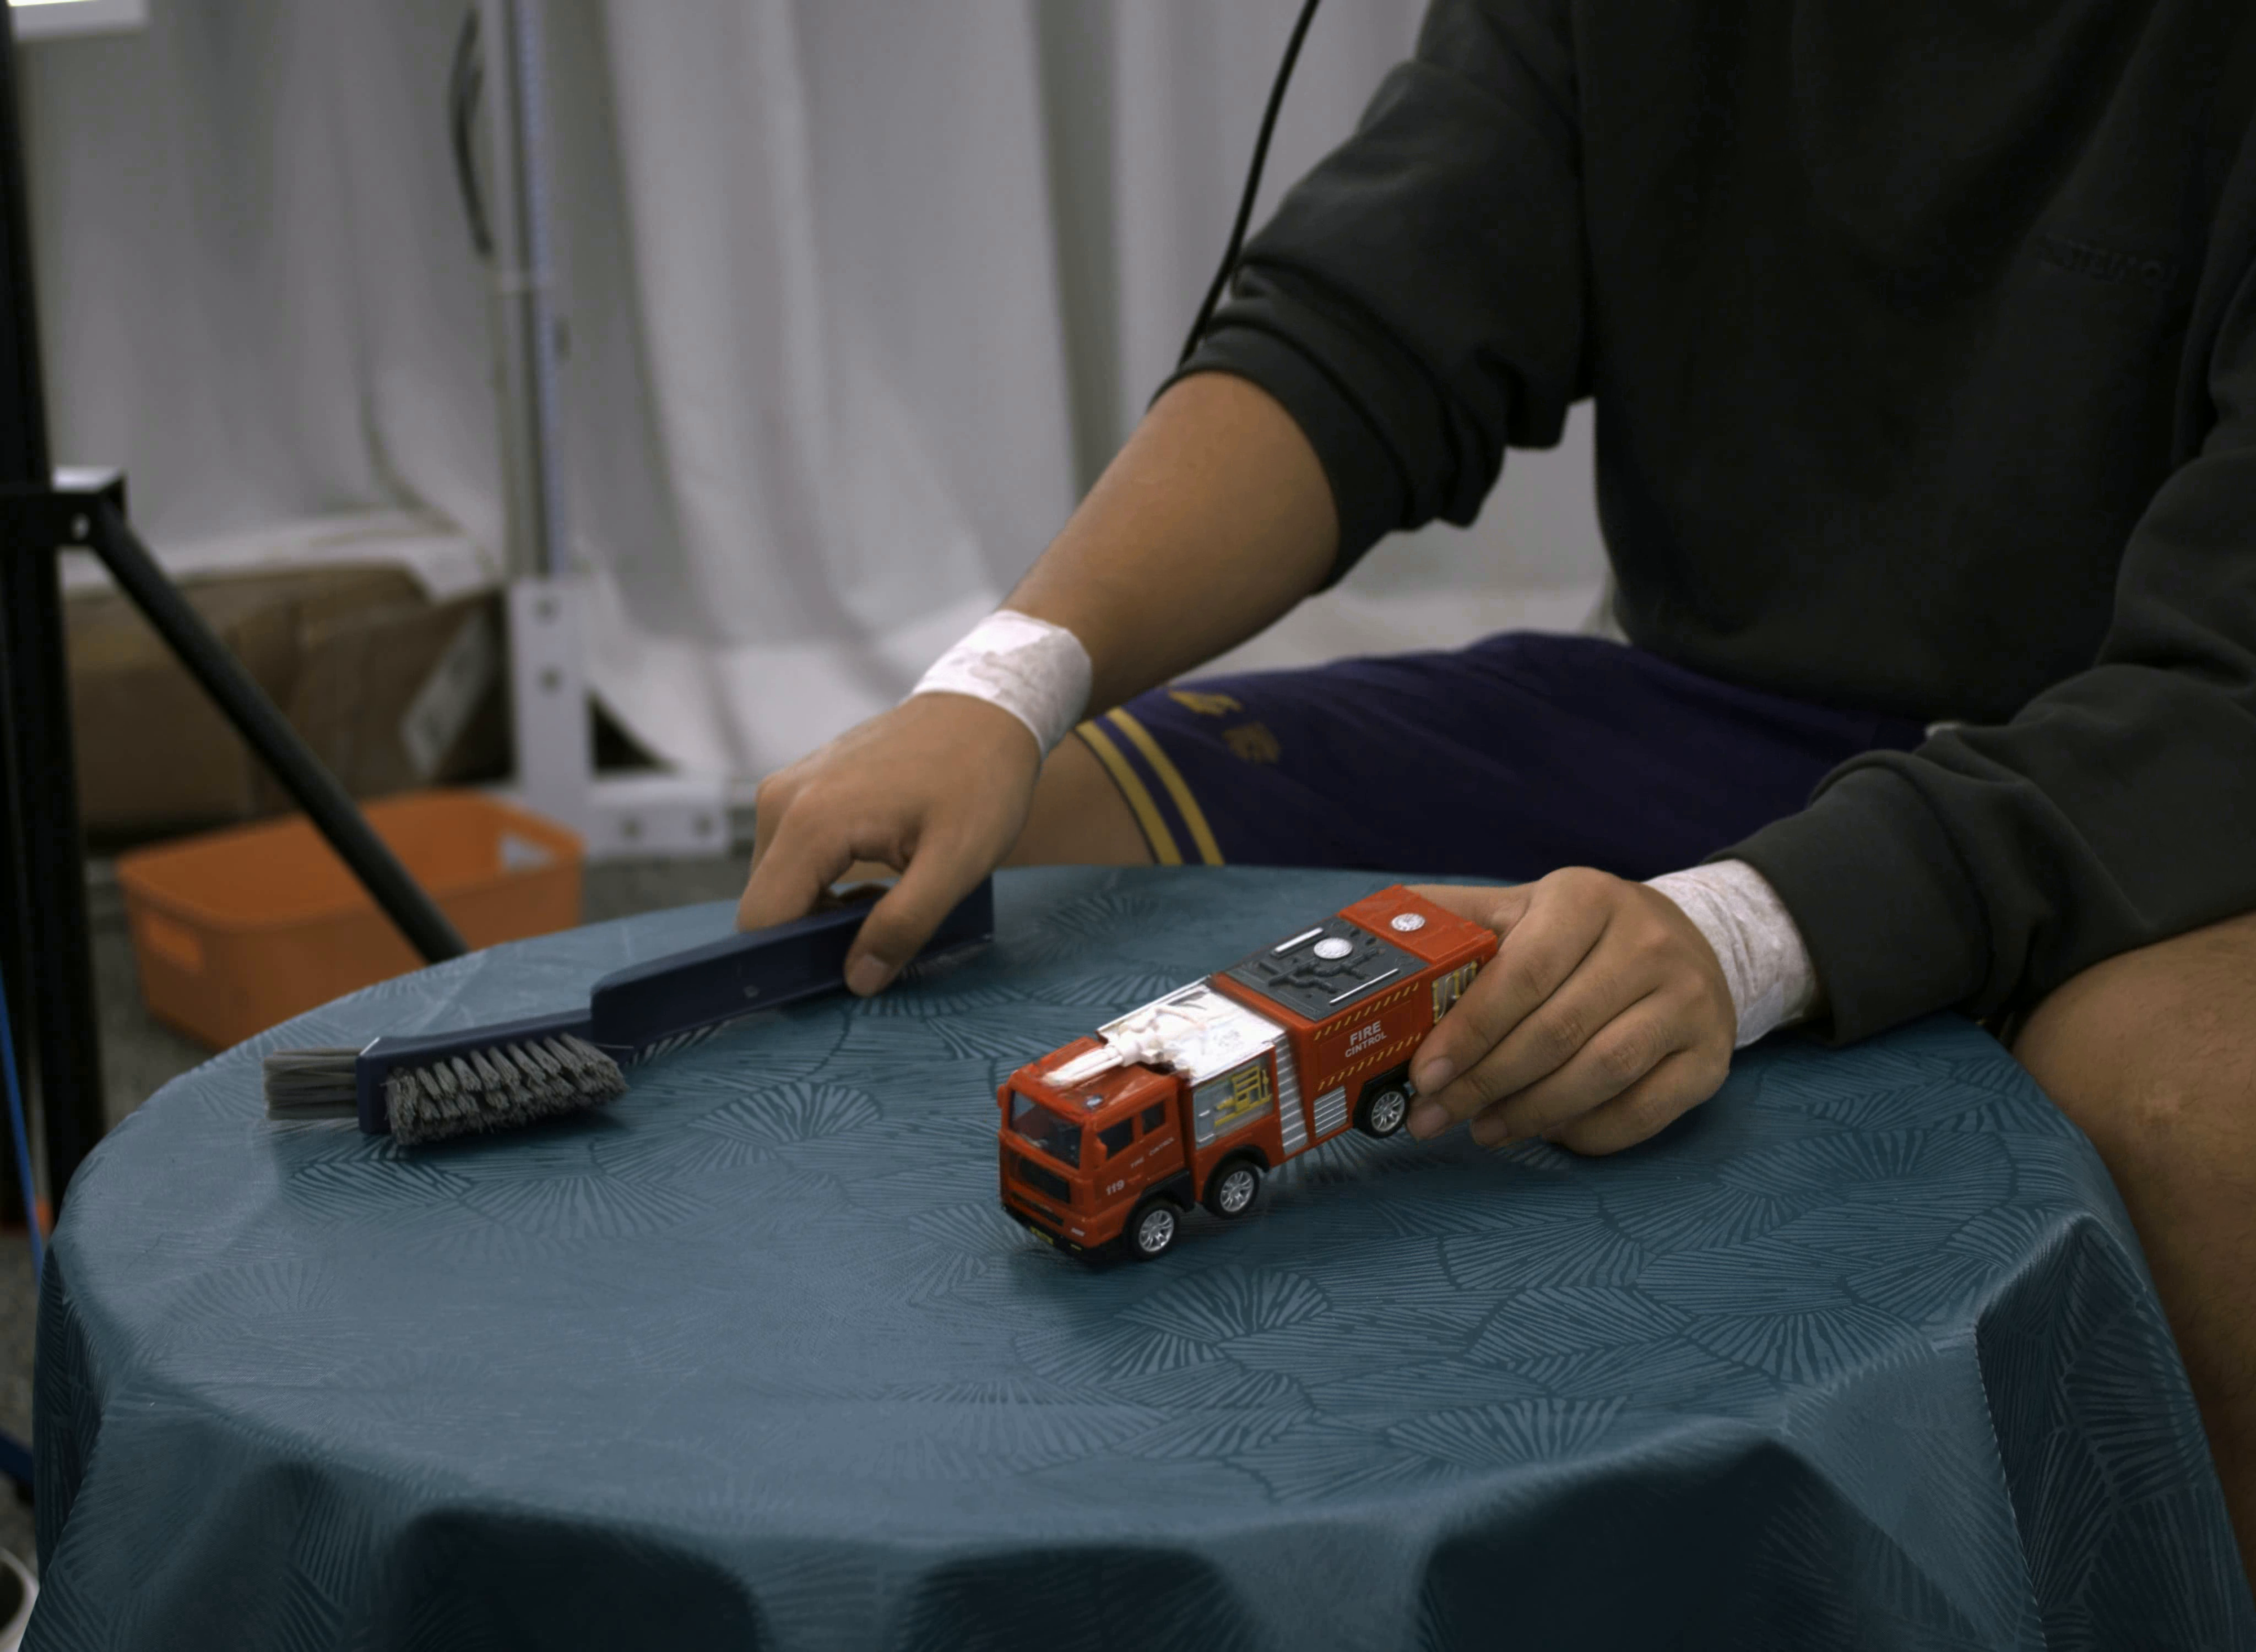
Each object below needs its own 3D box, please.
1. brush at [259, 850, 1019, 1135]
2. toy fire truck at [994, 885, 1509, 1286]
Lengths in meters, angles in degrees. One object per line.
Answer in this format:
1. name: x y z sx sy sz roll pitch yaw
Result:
1. brush: -0.148 0.052 1.723 0.098 0.033 0.267 11 21 41
2. toy fire truck: 0.036 0.072 1.534 0.165 0.070 0.055 -24 33 -32
